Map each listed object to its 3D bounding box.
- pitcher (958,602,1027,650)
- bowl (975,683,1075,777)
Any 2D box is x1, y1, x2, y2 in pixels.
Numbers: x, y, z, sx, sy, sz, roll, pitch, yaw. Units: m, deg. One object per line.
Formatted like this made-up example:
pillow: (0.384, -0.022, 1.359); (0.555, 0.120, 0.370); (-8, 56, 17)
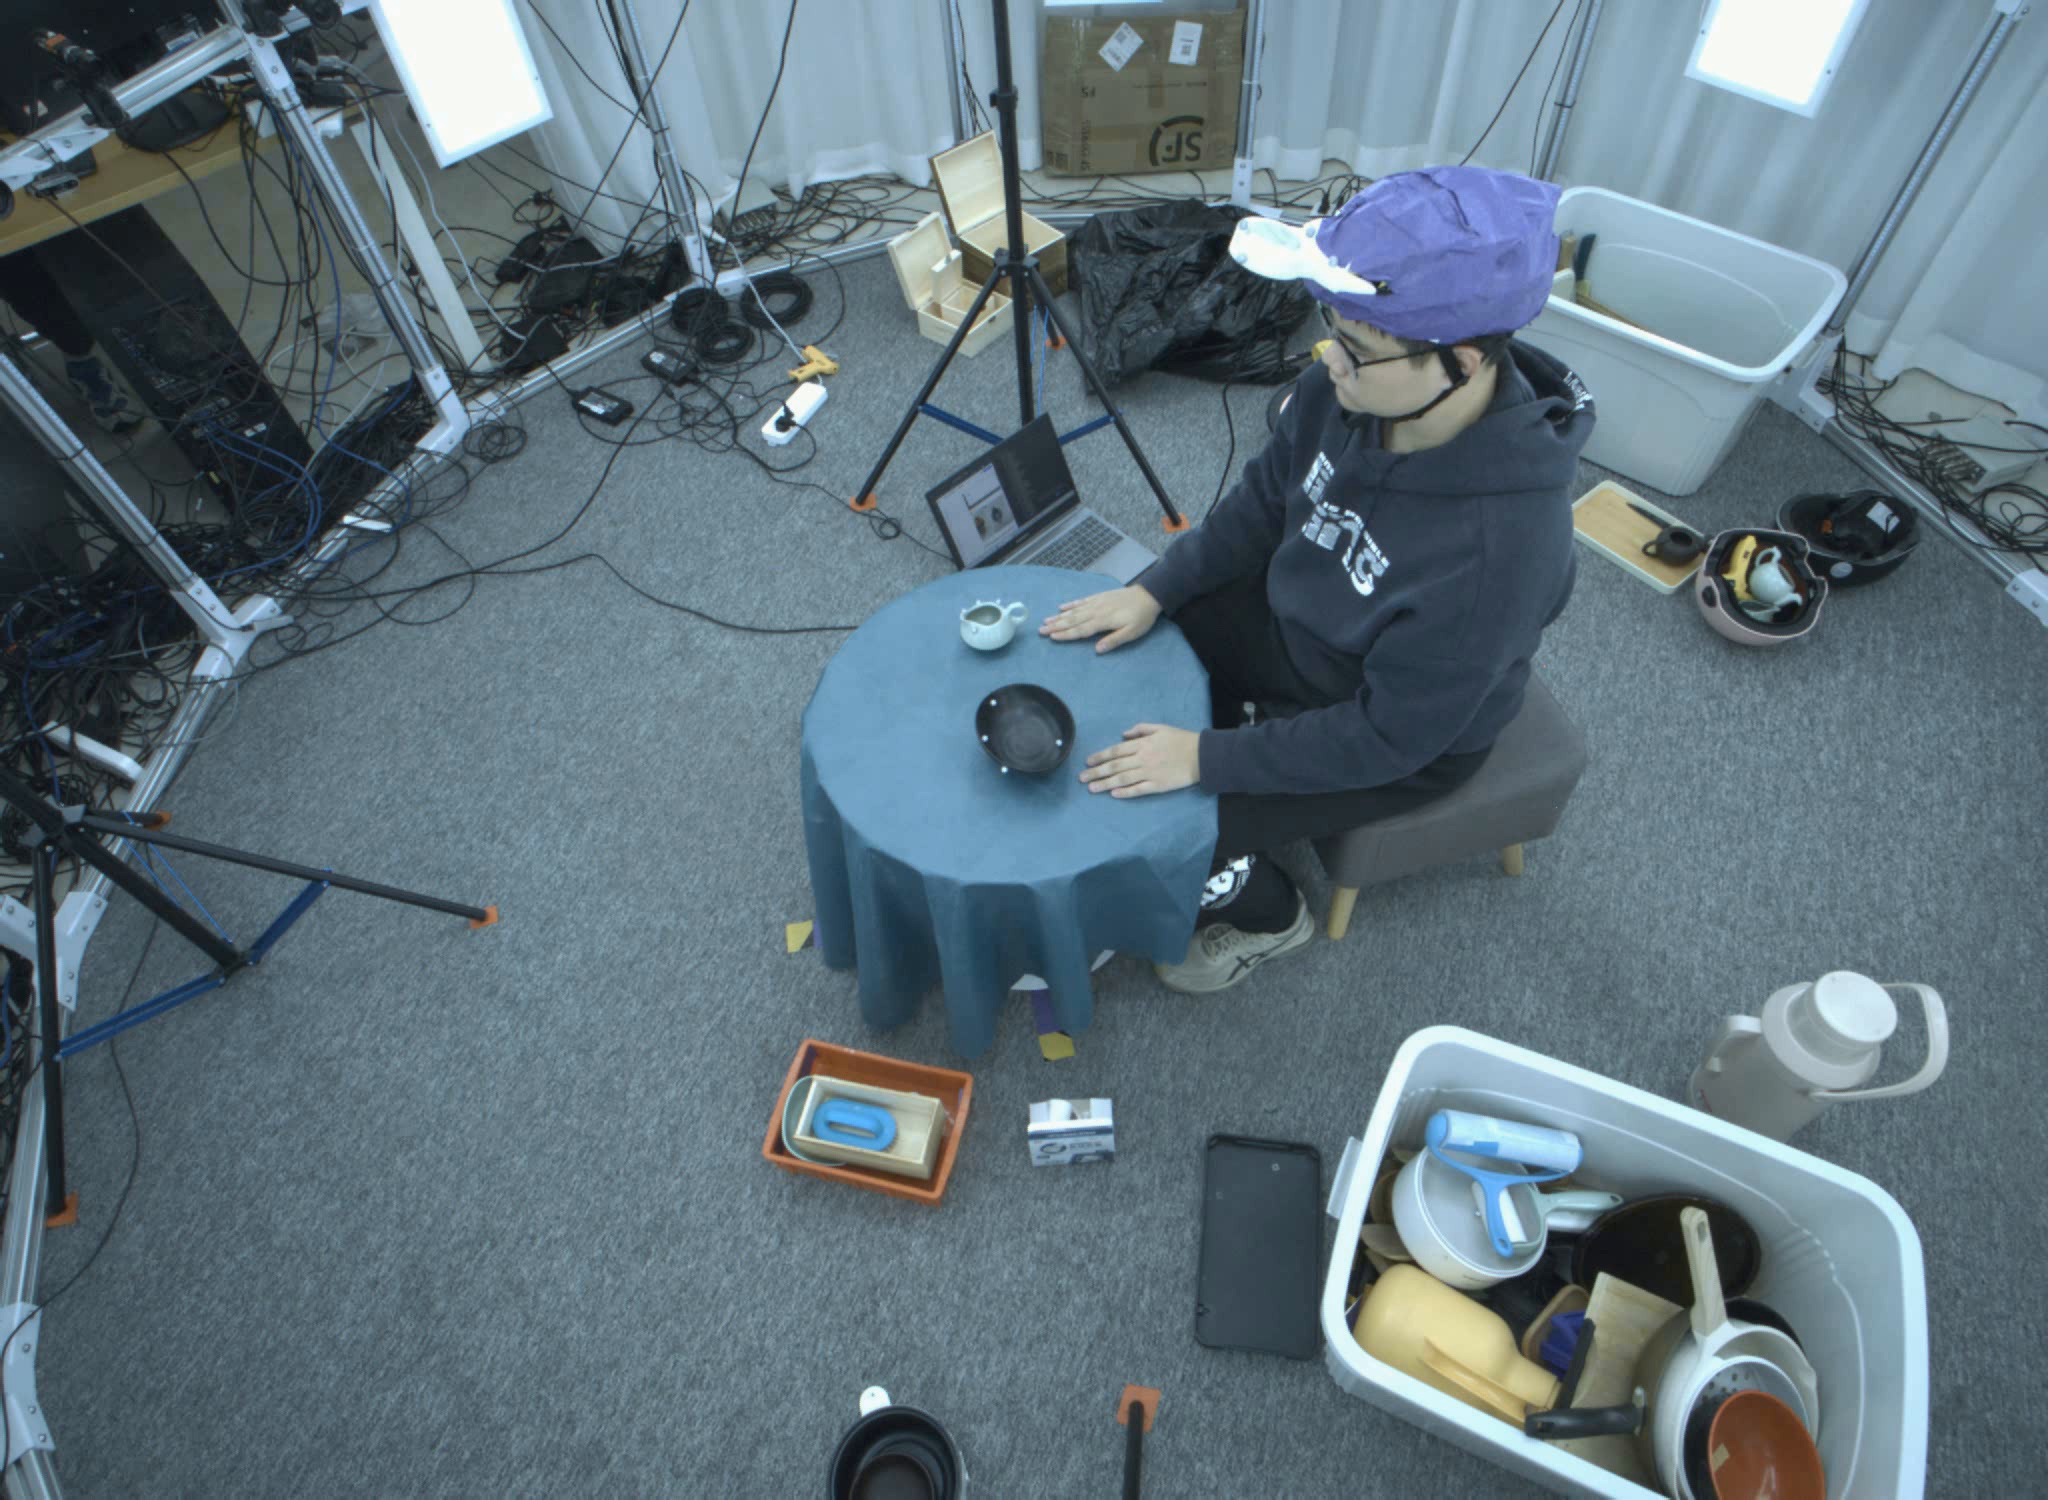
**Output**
pitcher: (-0.048, -0.197, 1.894); (0.108, 0.061, 0.084); (-12, 56, -9)
bowl: (0.000, -0.020, 1.764); (0.138, 0.067, 0.167); (-21, 56, -13)
